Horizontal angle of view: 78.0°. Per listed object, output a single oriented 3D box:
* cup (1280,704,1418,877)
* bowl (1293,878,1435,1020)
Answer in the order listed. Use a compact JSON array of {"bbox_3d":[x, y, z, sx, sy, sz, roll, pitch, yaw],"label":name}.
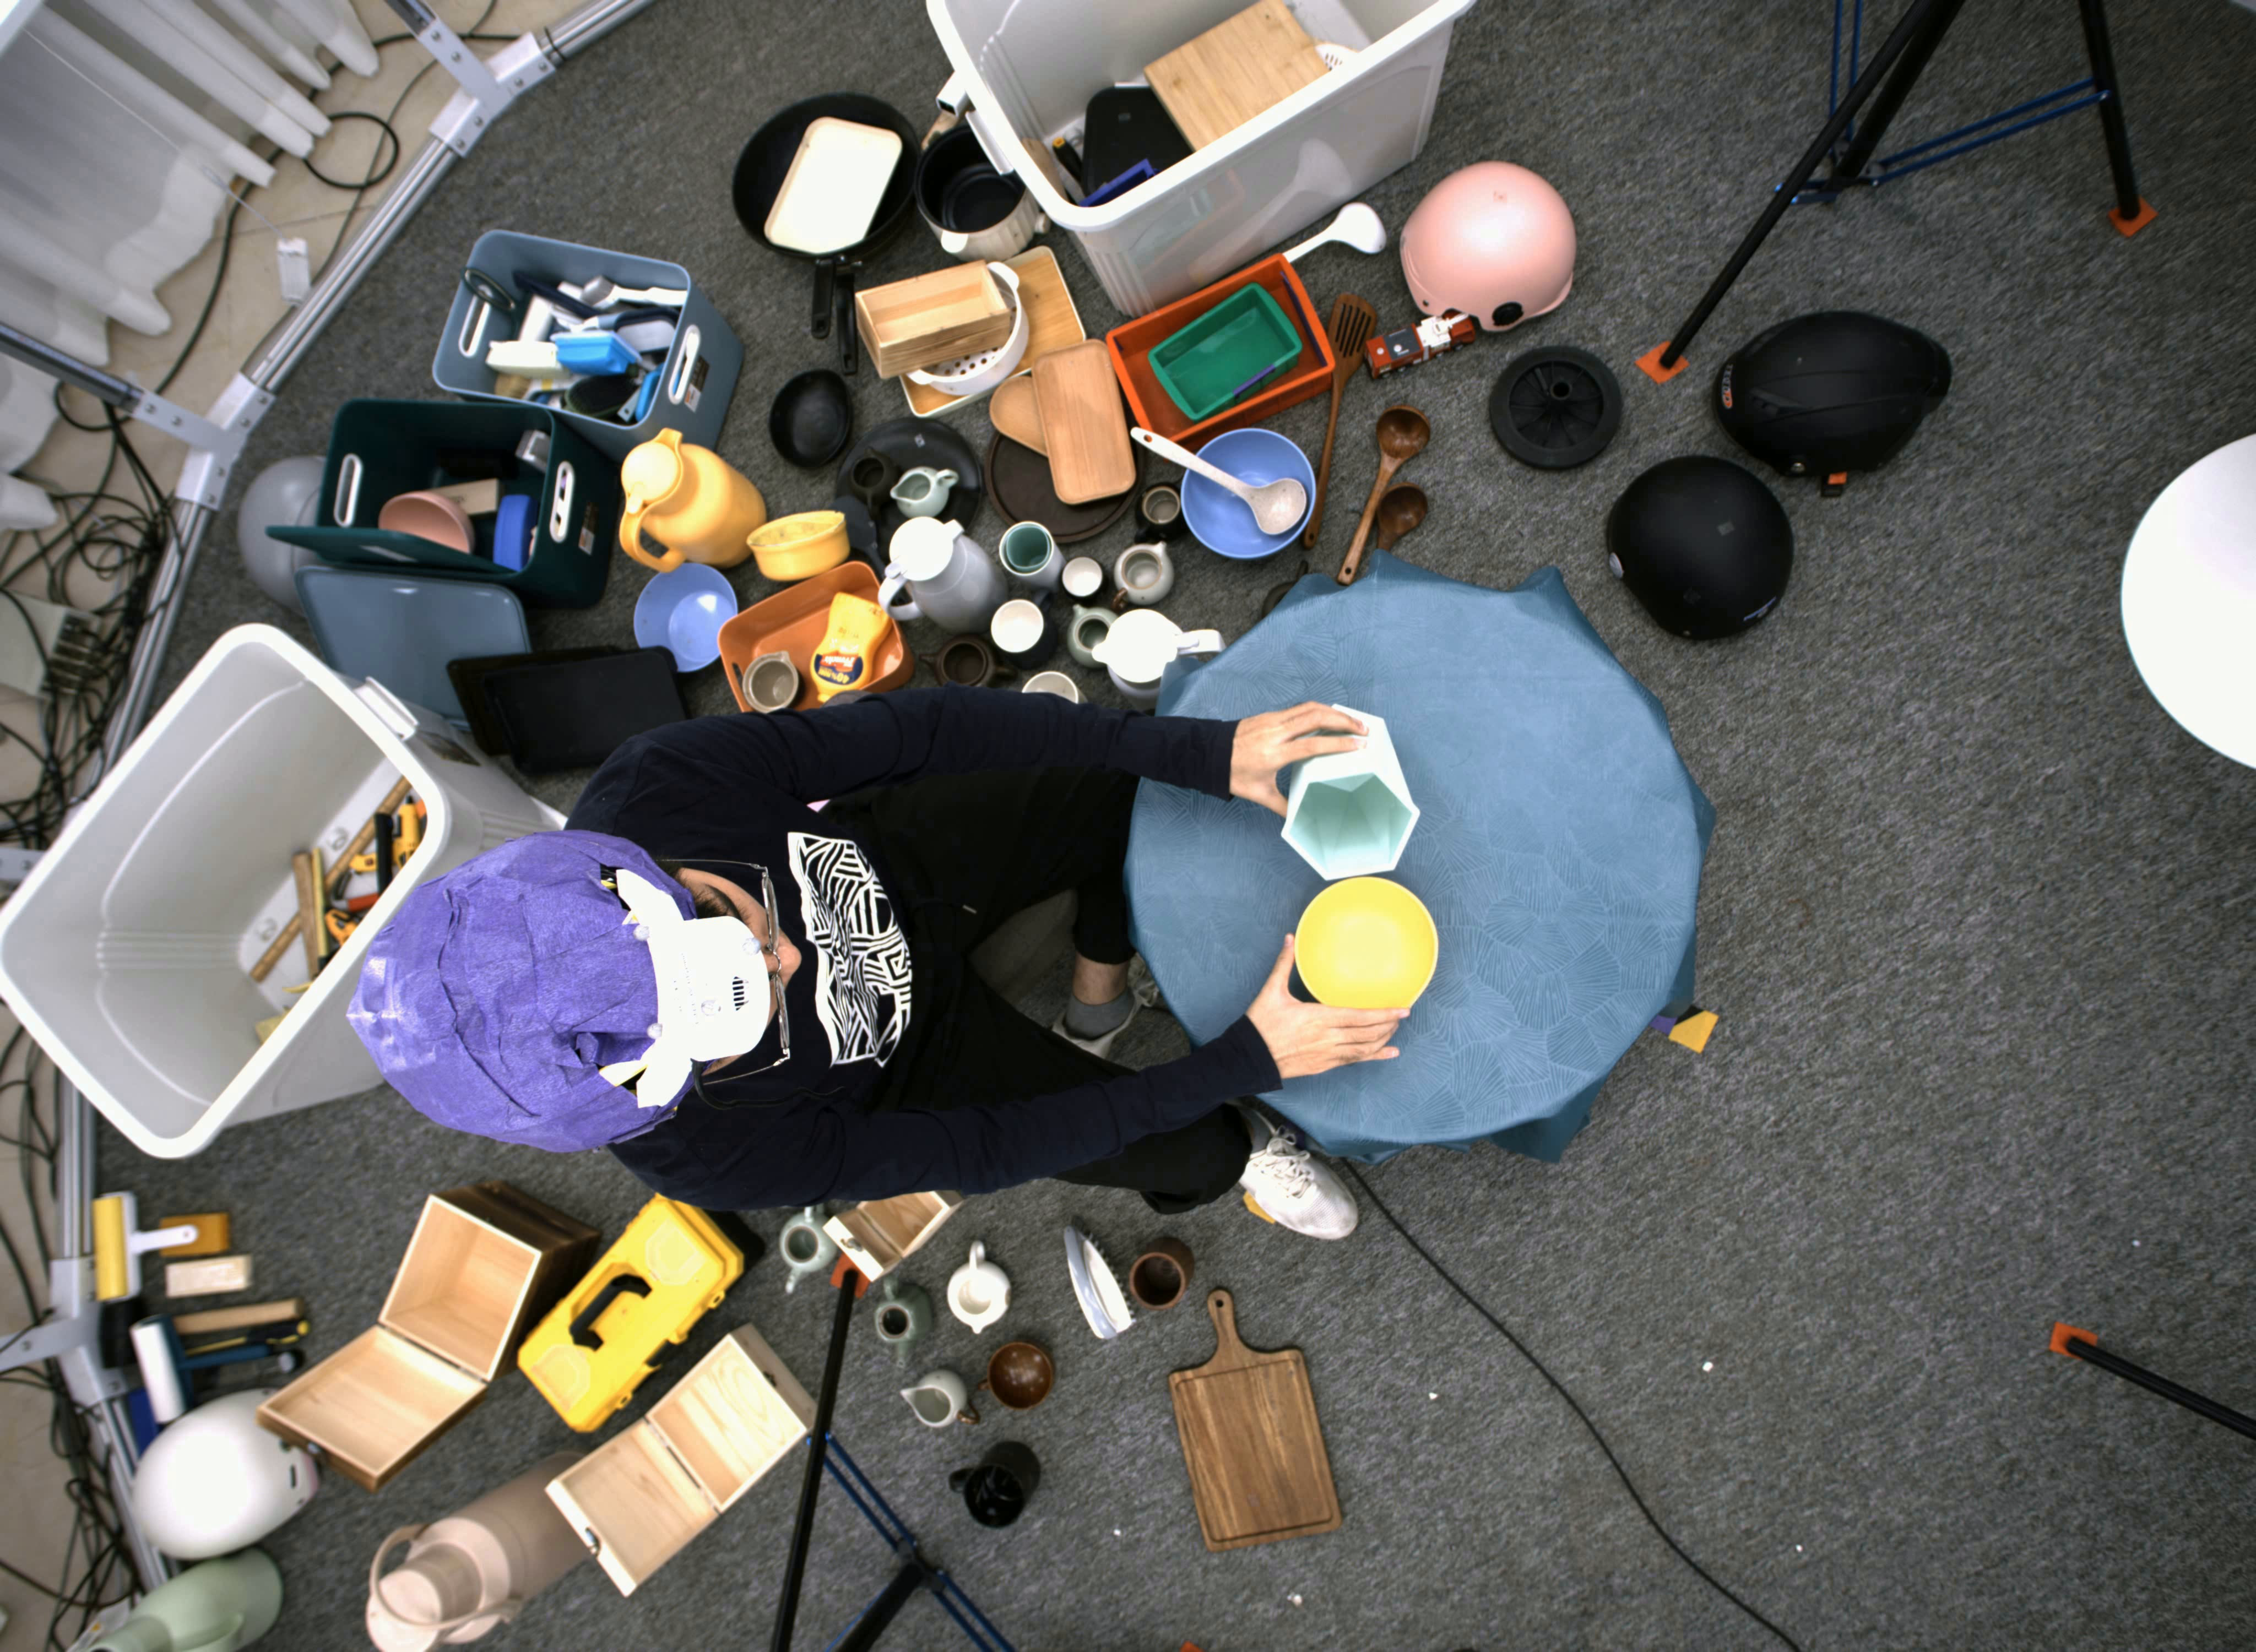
[{"bbox_3d":[0.216,-0.044,1.360,0.115,0.159,0.134,16,120,-1],"label":"cup"},{"bbox_3d":[0.245,0.127,1.434,0.146,0.060,0.144,-1,86,13],"label":"bowl"}]
